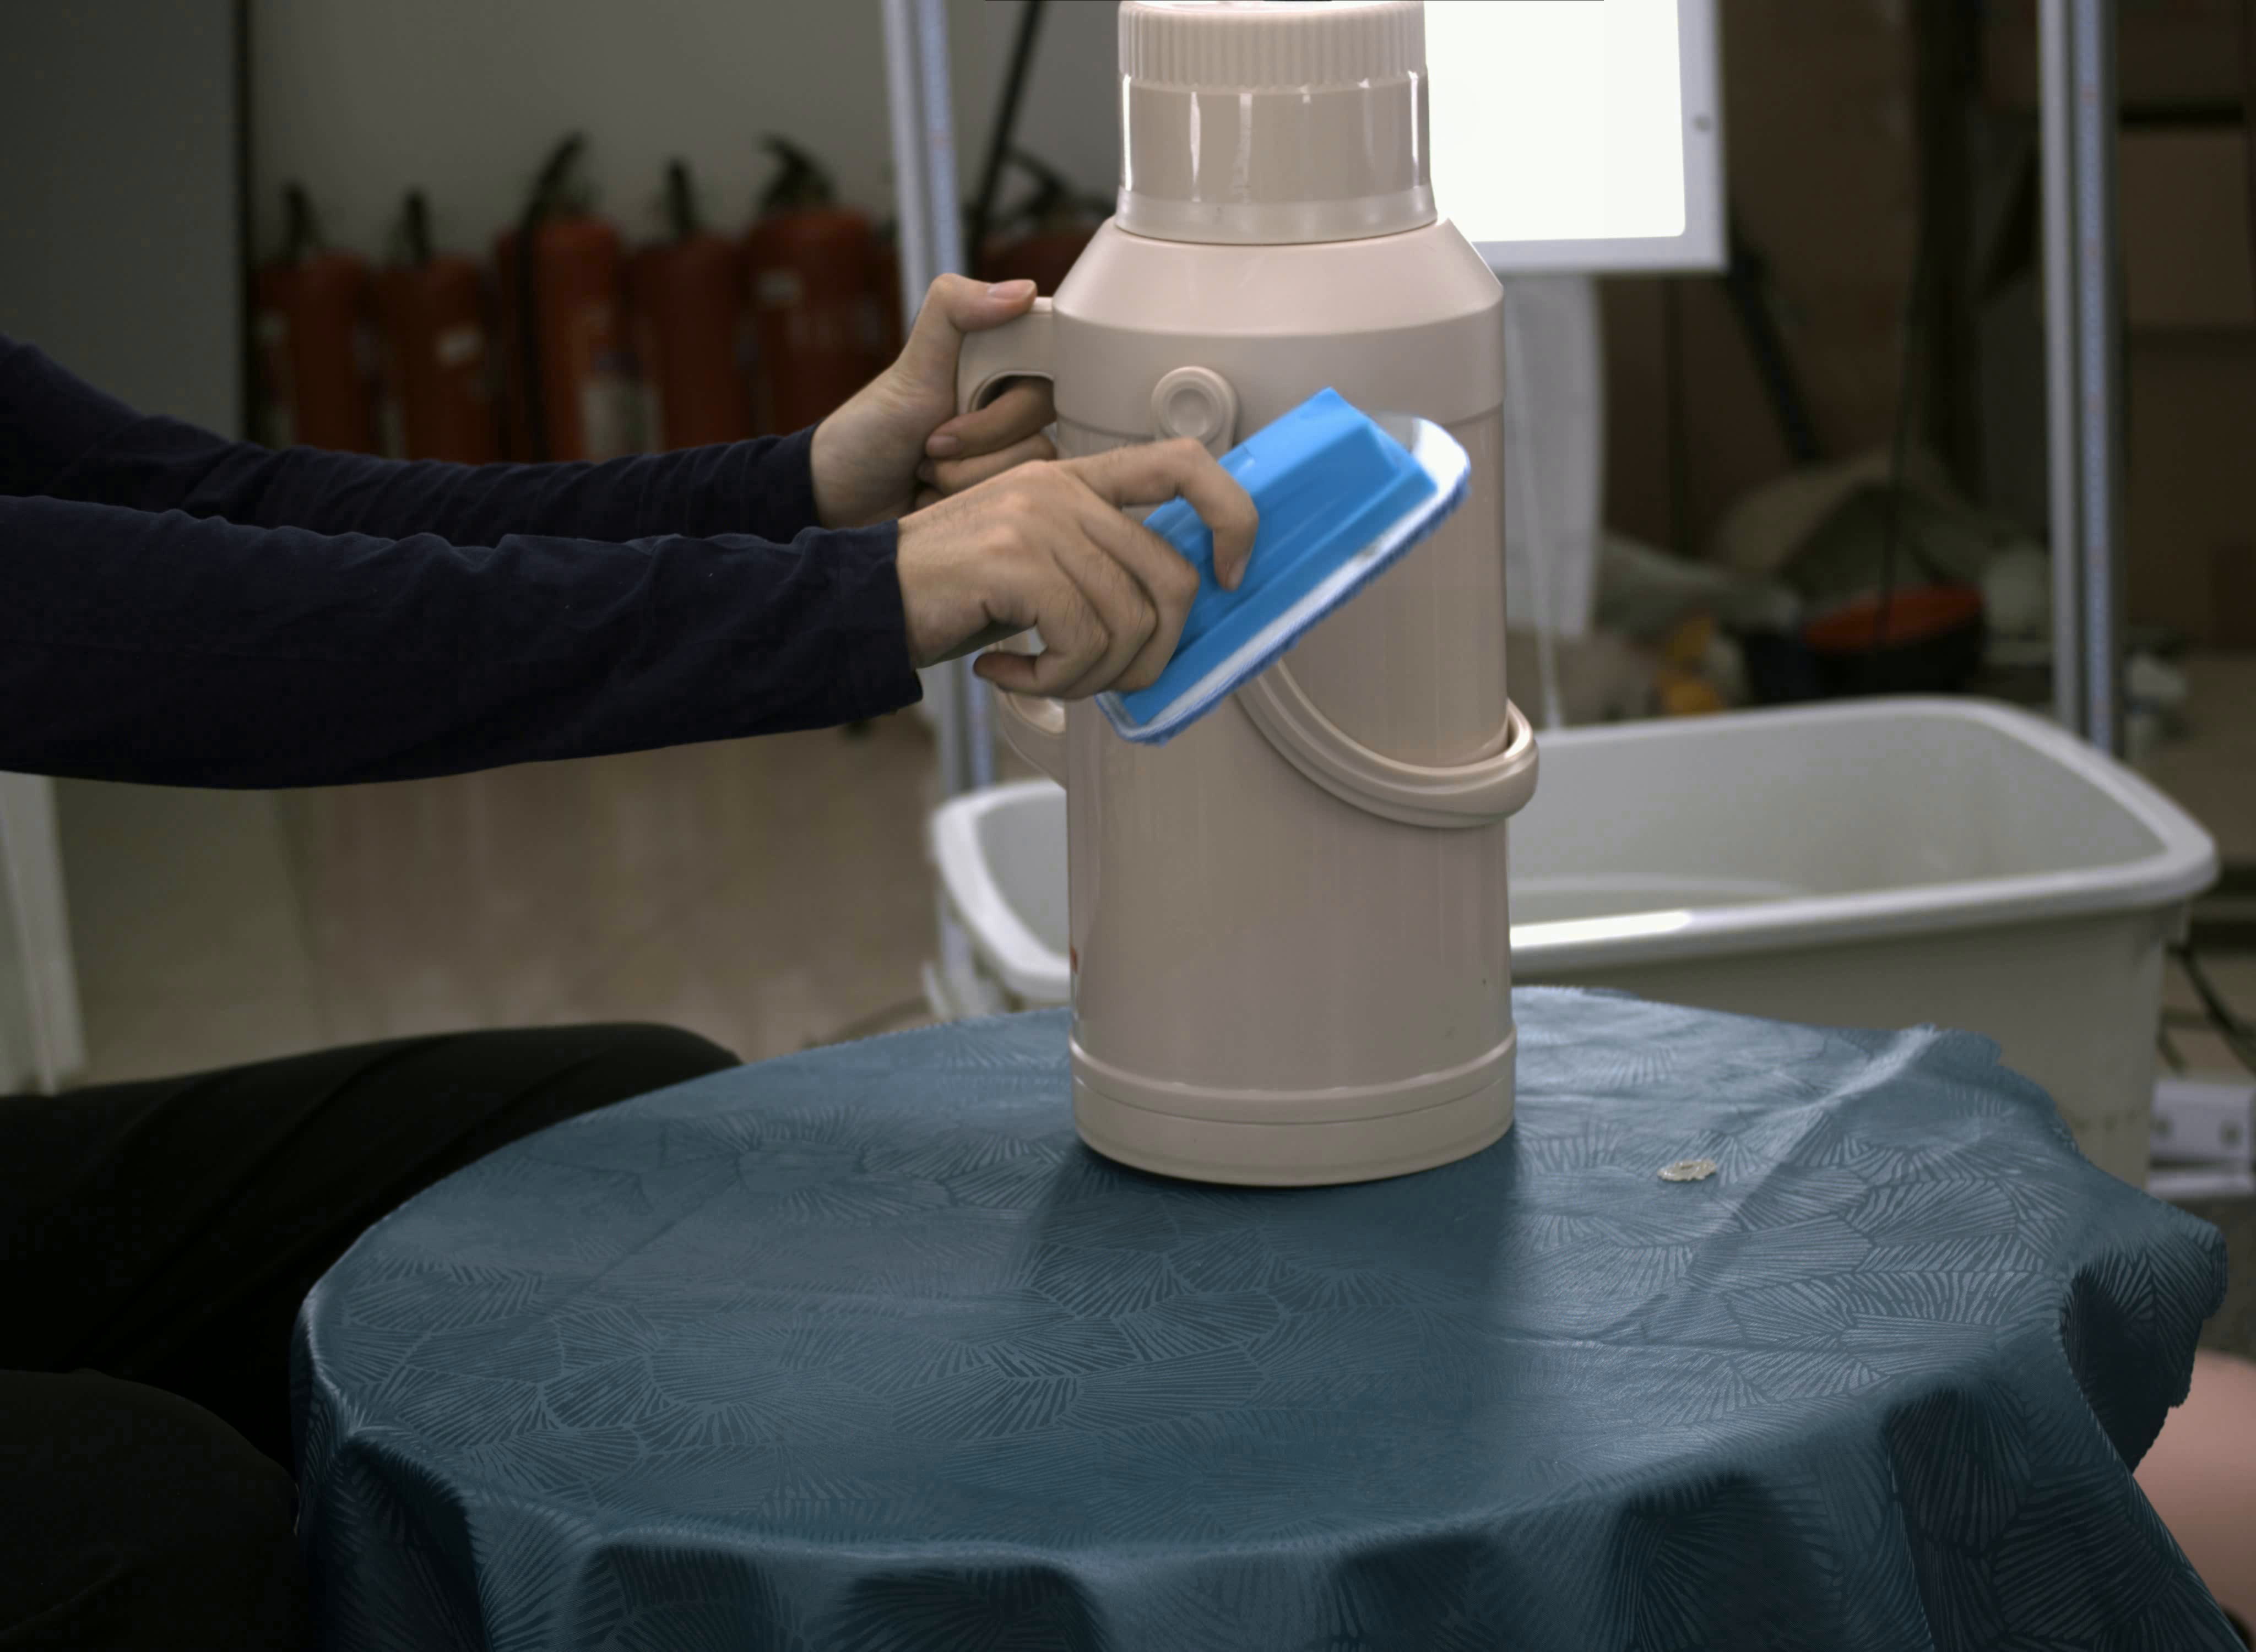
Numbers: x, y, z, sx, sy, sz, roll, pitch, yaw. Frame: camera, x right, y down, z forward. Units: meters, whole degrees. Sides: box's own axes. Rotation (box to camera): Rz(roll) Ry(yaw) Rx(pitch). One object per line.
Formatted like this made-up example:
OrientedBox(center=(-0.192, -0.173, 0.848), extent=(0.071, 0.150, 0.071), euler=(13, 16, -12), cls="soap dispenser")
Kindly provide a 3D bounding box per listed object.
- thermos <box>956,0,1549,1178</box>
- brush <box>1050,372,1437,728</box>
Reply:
OrientedBox(center=(0.043, -0.090, 1.914), extent=(0.210, 0.408, 0.172), euler=(3, 17, 22), cls="thermos")
OrientedBox(center=(0.029, -0.092, 1.728), extent=(0.144, 0.055, 0.084), euler=(-37, 17, 6), cls="brush")
